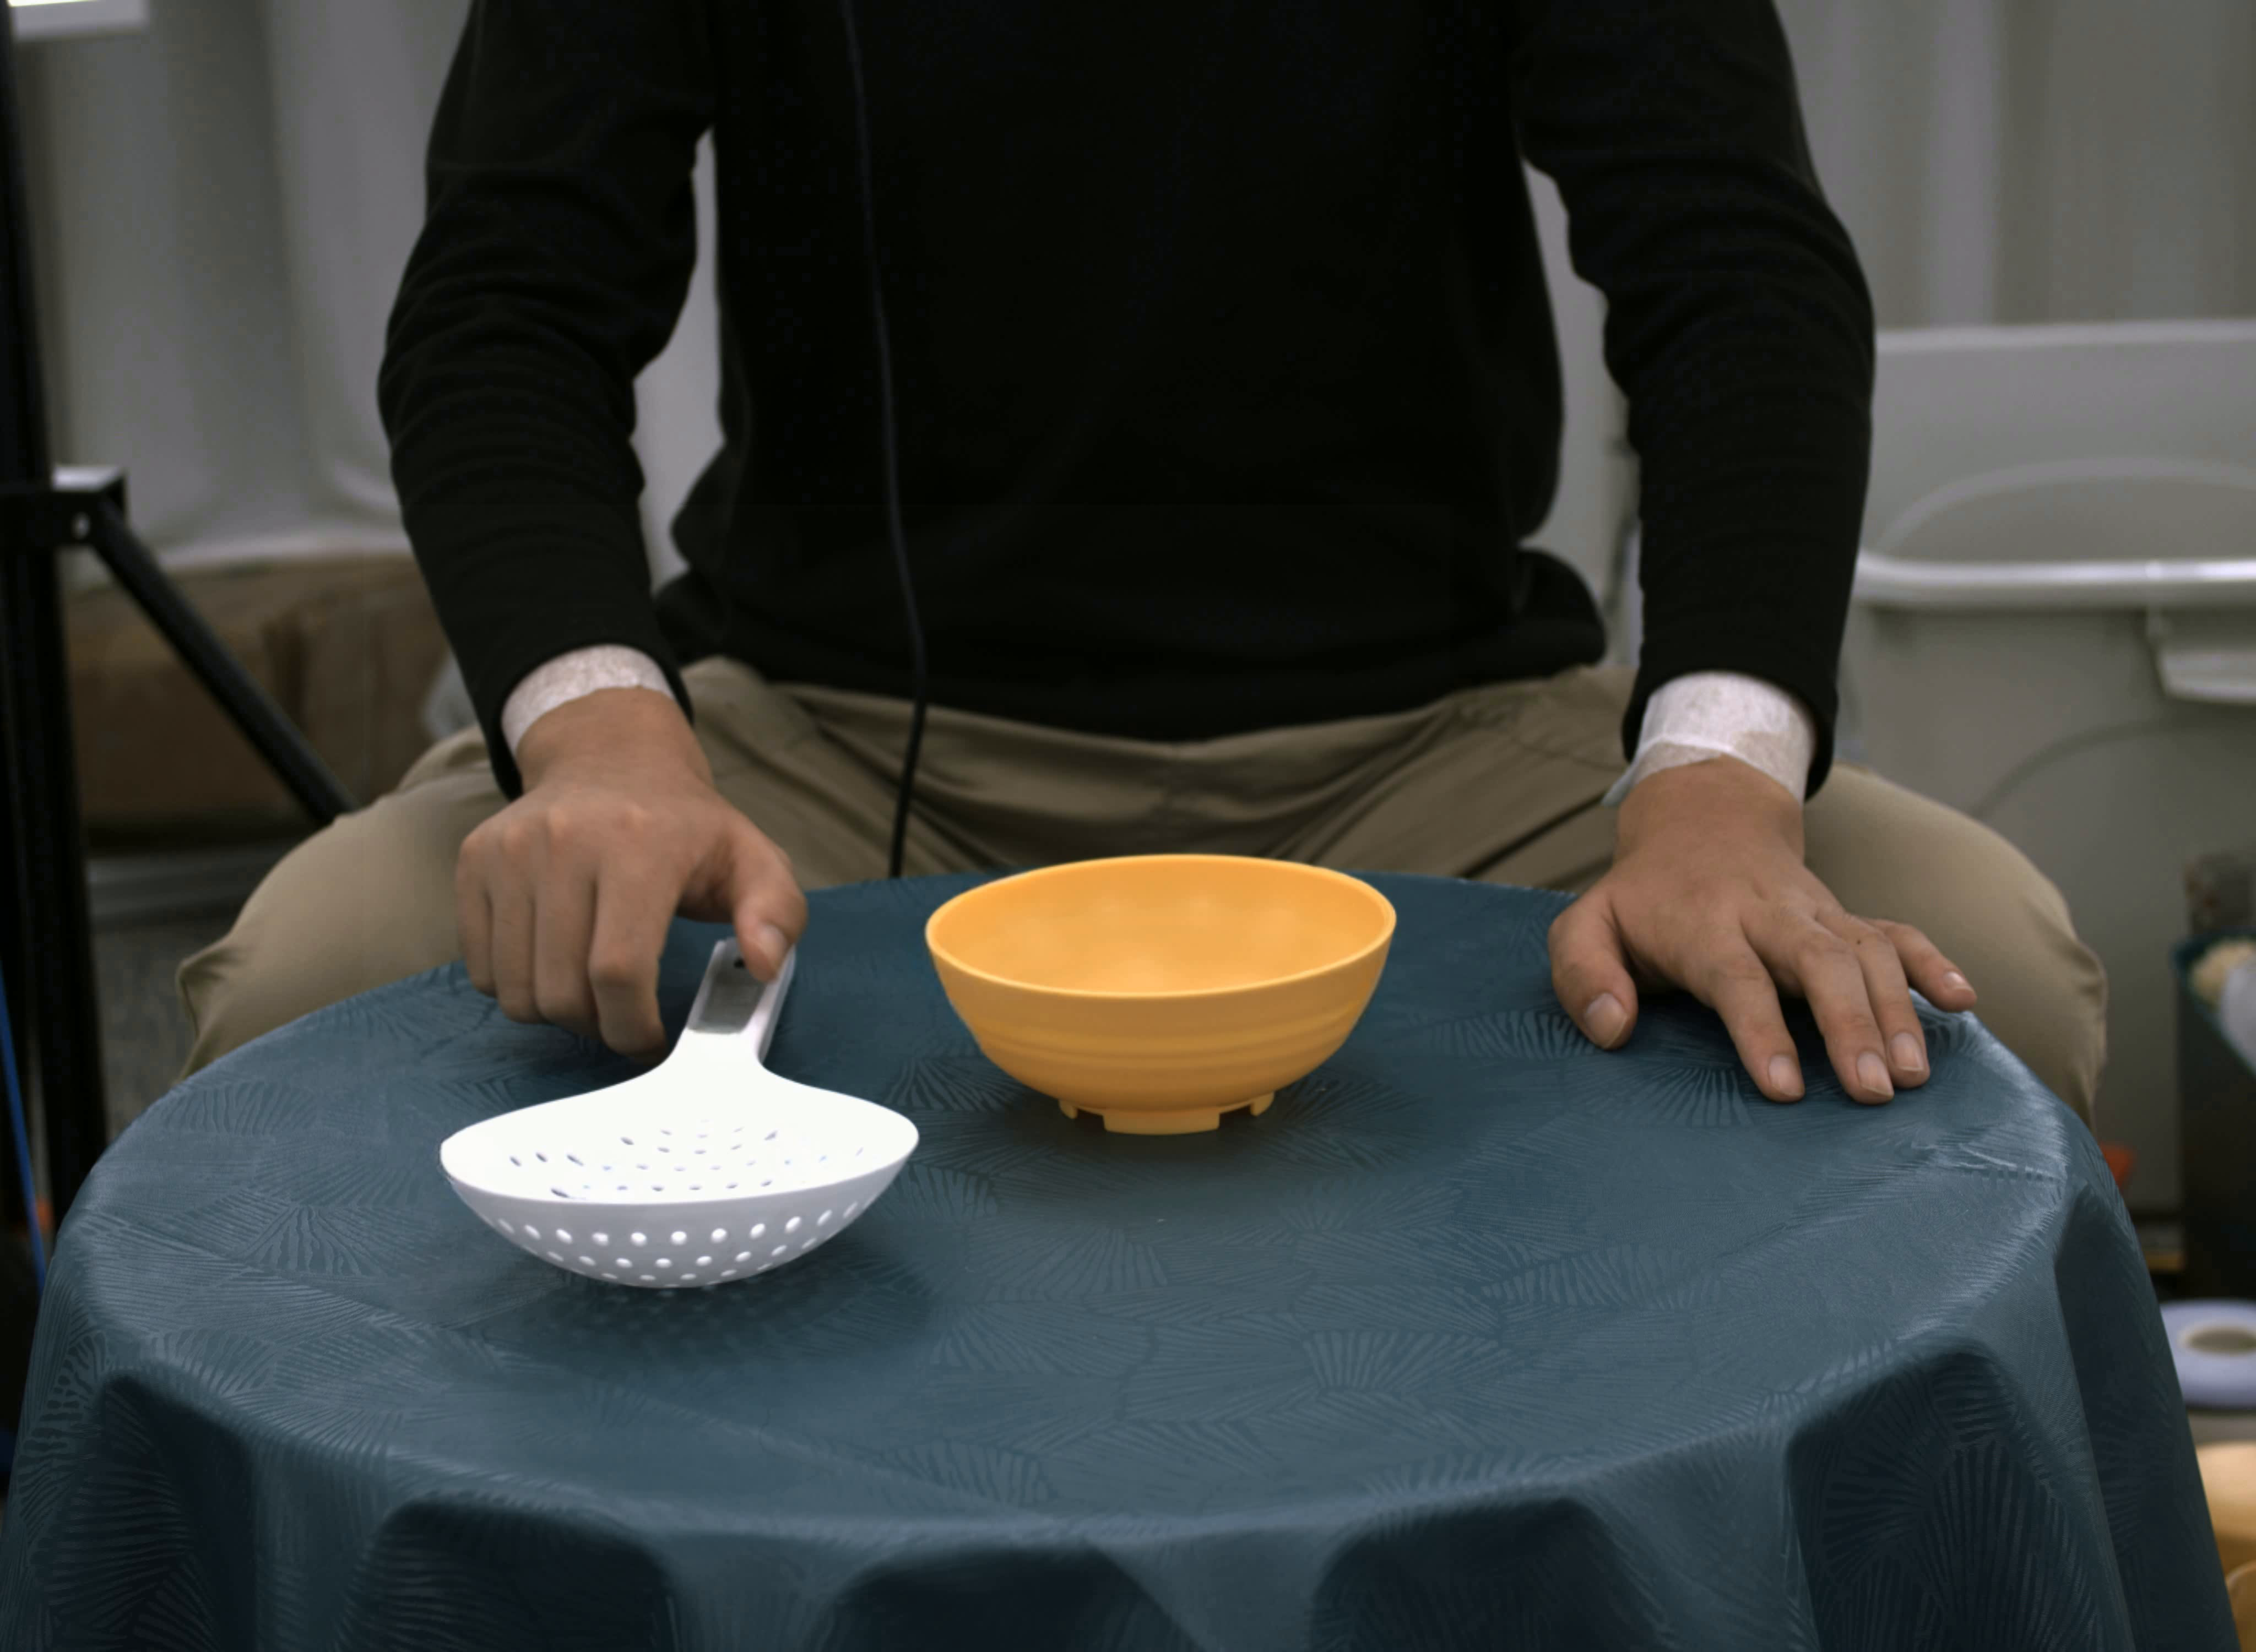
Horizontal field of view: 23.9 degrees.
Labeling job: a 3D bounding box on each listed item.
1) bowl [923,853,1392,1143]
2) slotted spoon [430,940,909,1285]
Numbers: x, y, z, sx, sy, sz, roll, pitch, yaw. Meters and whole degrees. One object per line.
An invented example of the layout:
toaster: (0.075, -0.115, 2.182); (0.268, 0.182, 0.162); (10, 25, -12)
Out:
bowl: (0.009, 0.058, 1.631); (0.144, 0.060, 0.146); (-1, 17, -1)
slotted spoon: (-0.127, 0.077, 1.605); (0.135, 0.046, 0.351); (-4, 15, 2)
